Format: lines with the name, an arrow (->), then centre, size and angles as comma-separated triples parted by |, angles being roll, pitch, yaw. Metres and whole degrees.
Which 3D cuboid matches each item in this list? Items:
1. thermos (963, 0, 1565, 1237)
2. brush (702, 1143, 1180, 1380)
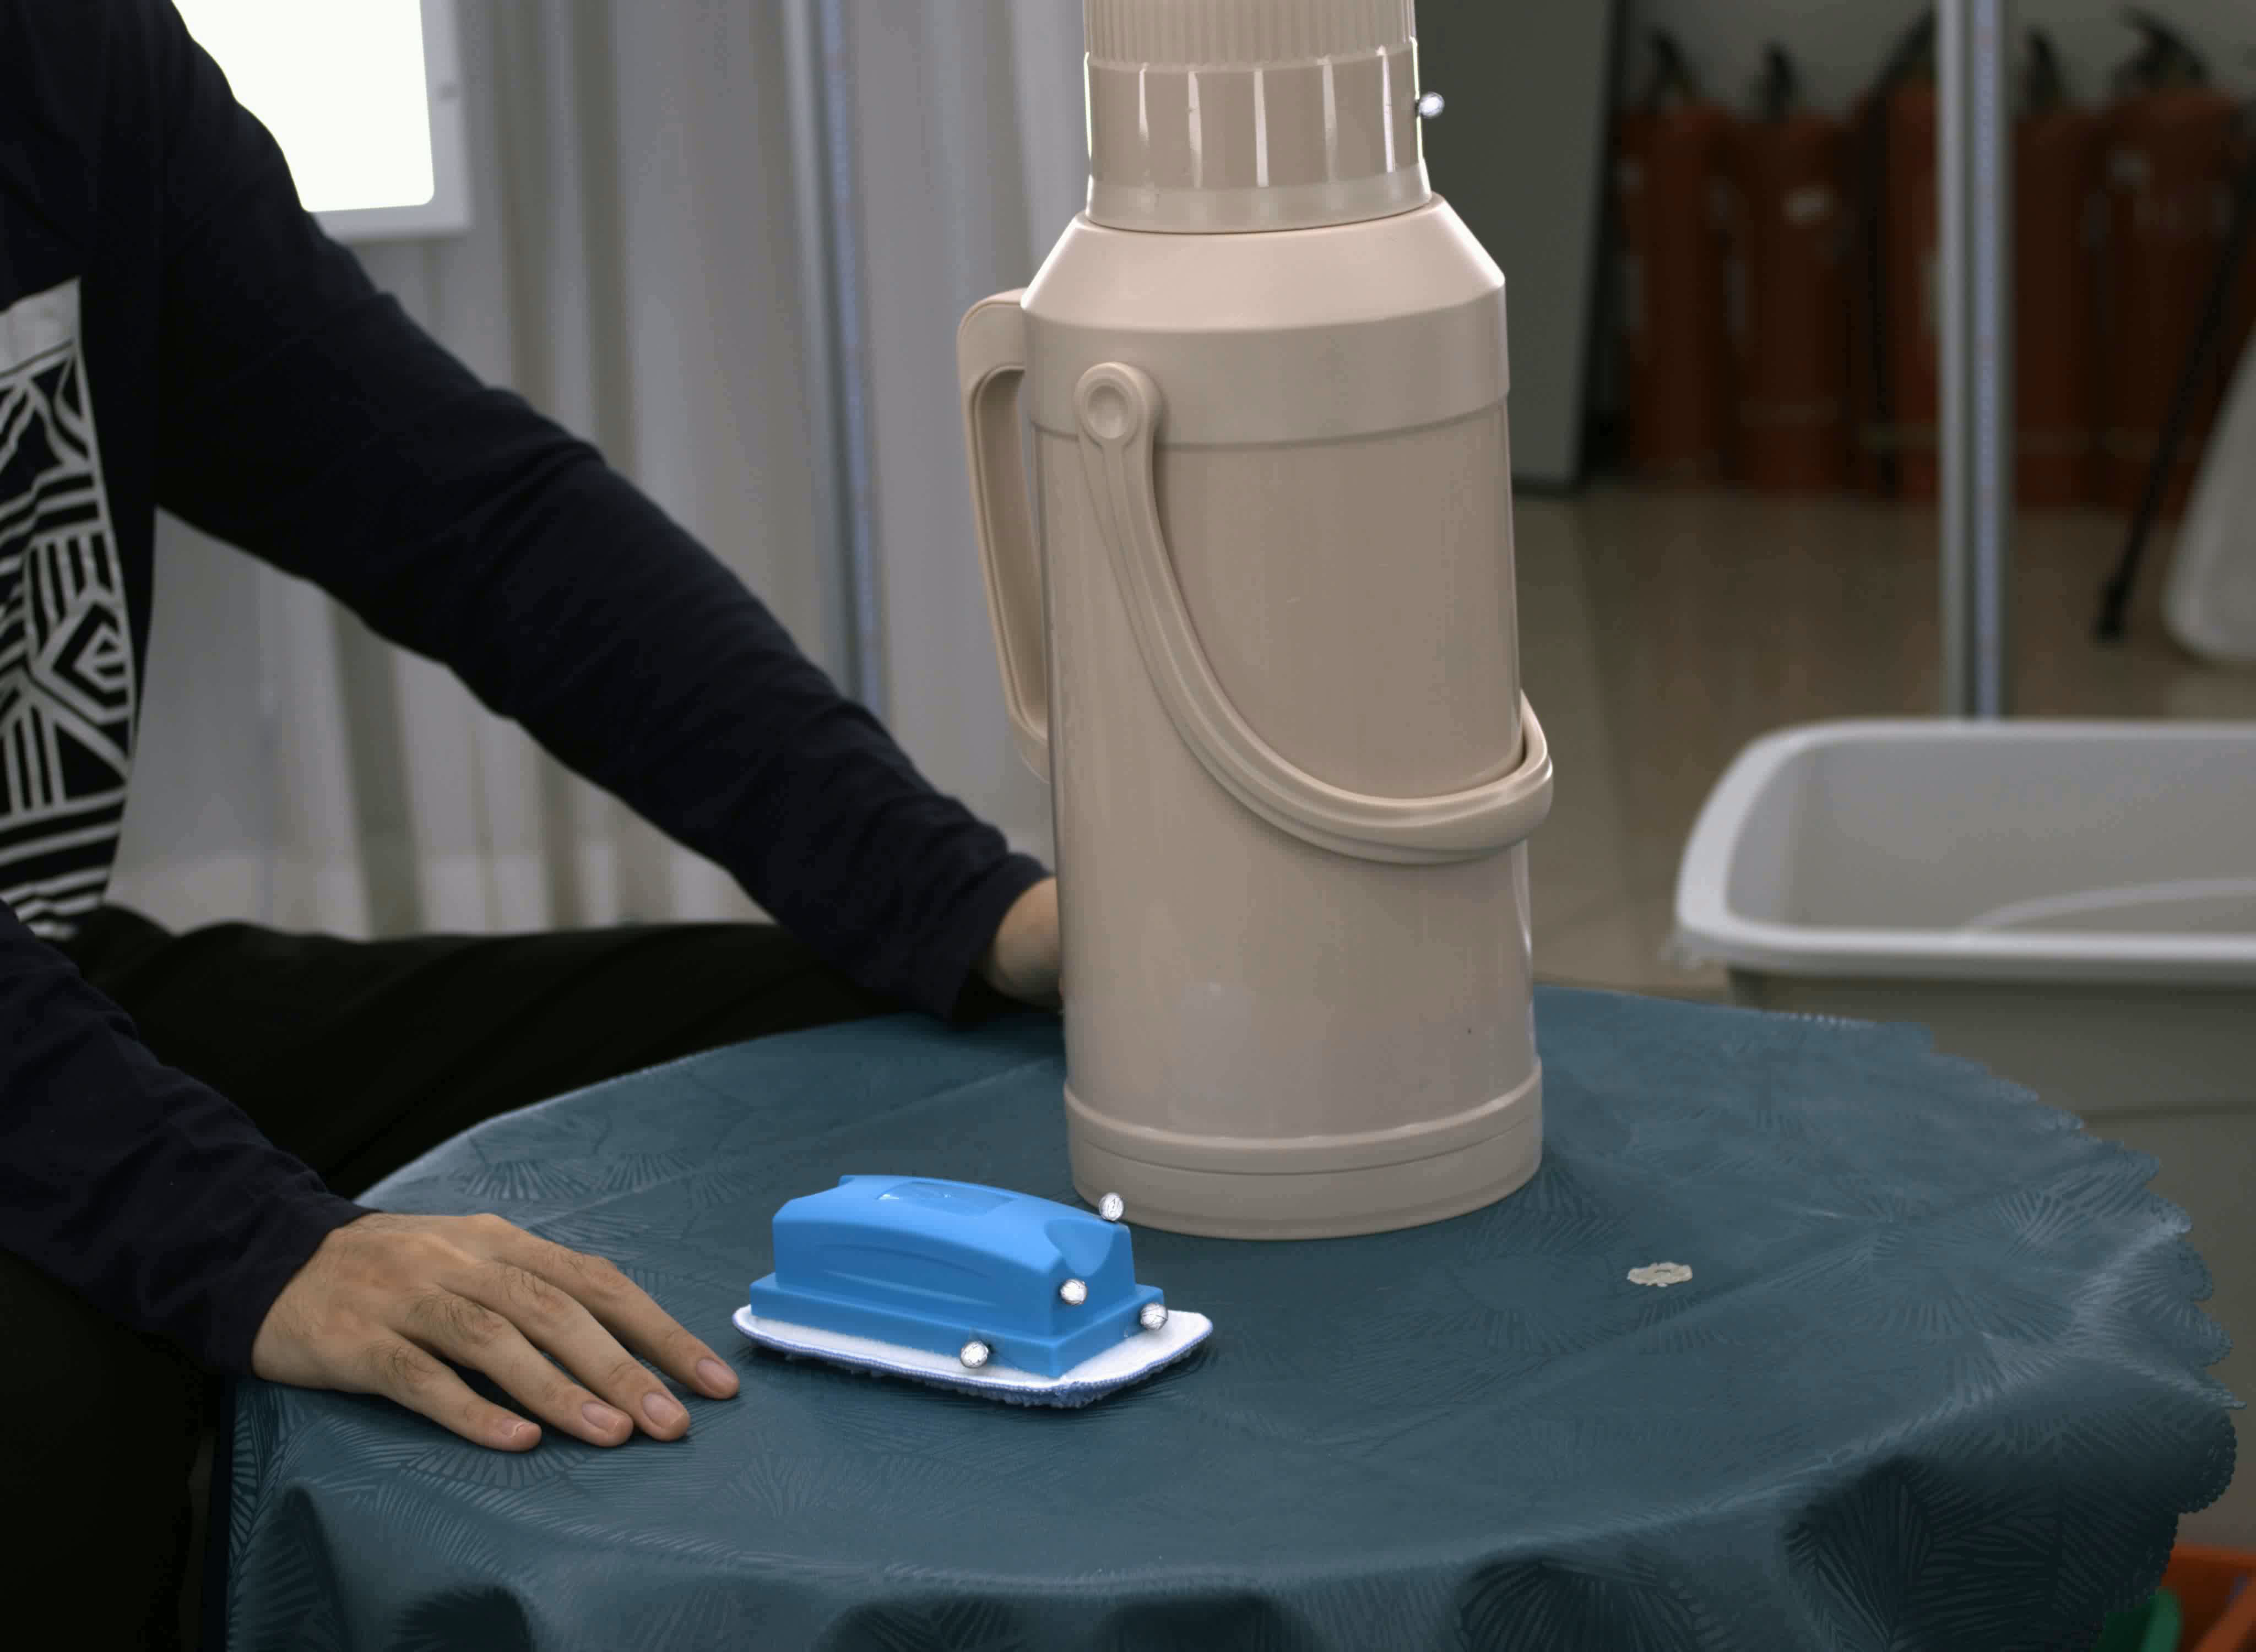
thermos -> 0.040, -0.082, 1.754 | 0.208, 0.410, 0.172 | 5, 17, 36
brush -> -0.056, 0.130, 1.628 | 0.145, 0.056, 0.082 | 10, 16, 39
